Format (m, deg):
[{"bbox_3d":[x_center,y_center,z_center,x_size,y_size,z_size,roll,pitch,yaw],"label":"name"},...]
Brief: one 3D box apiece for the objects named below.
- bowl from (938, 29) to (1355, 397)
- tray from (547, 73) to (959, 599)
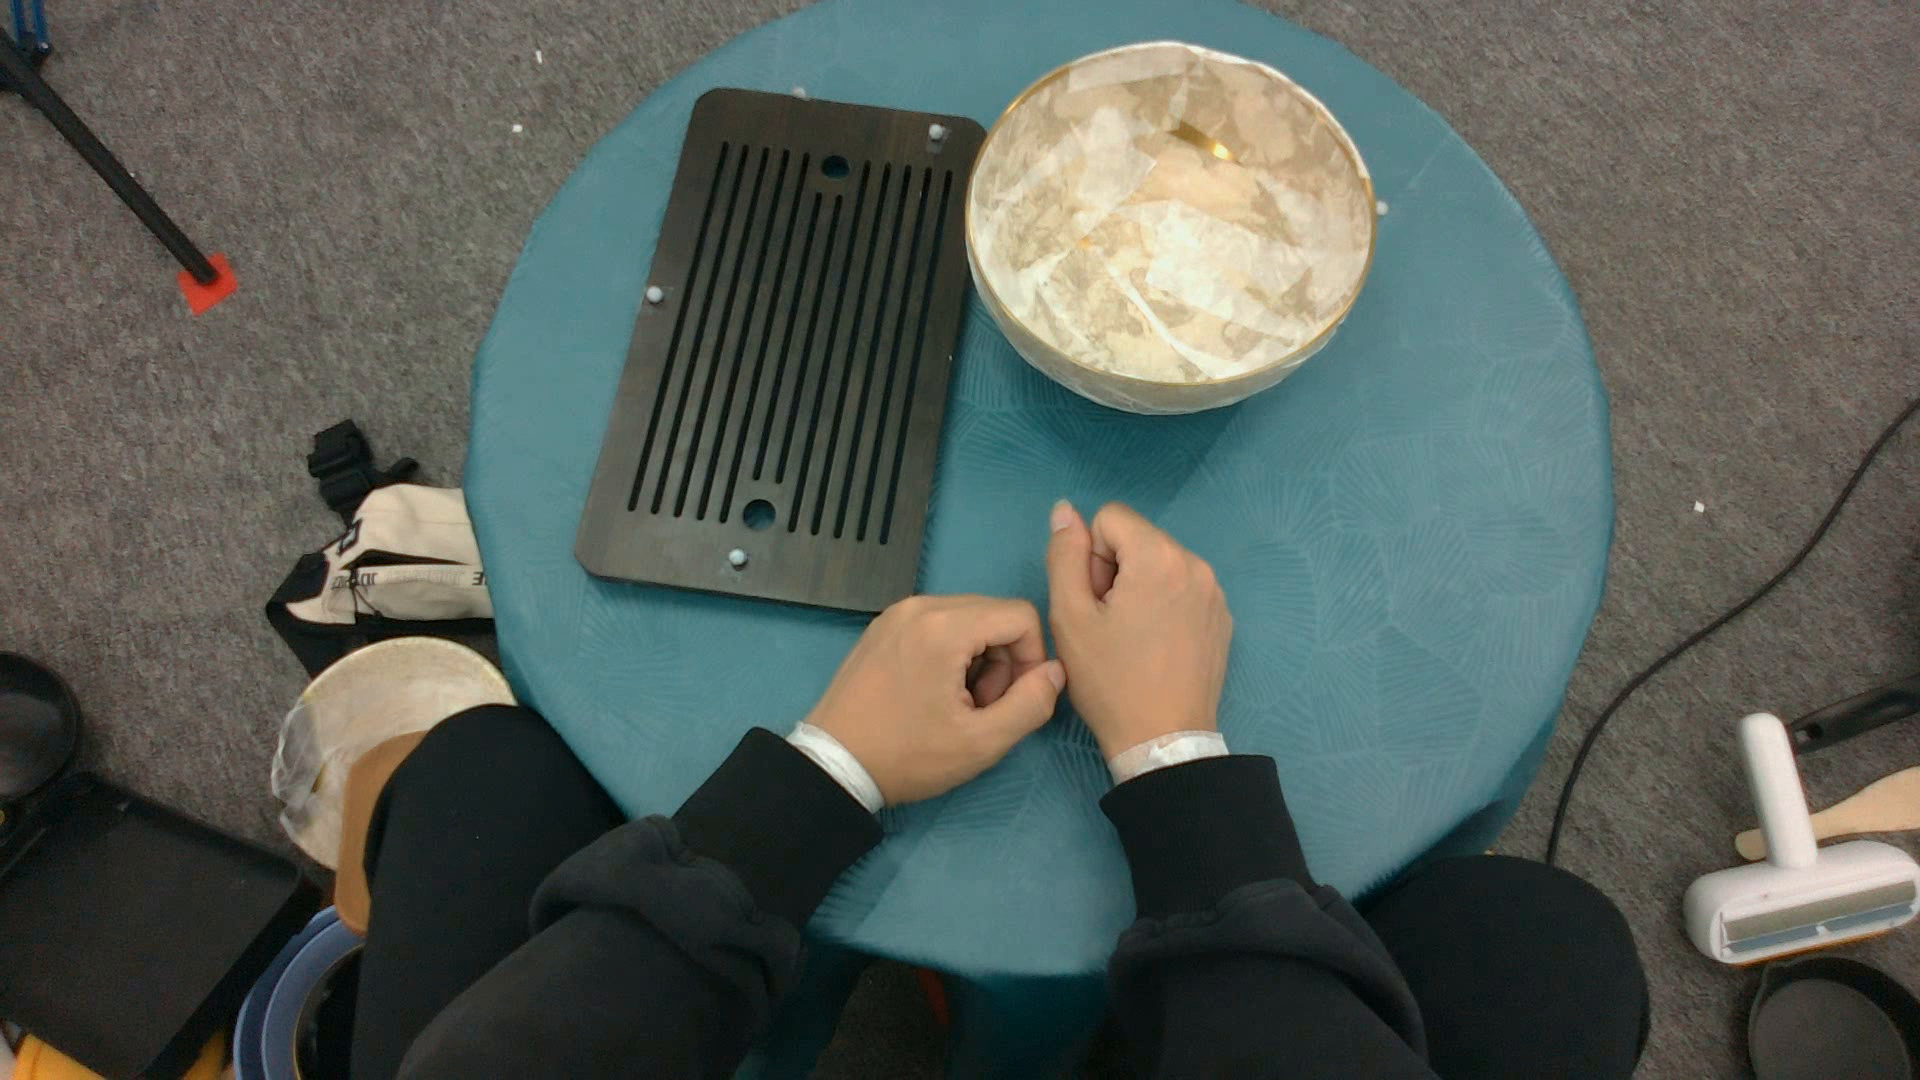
[{"bbox_3d":[0.088,-0.152,0.711,0.215,0.094,0.215,1,67,-2],"label":"bowl"},{"bbox_3d":[-0.101,-0.118,0.733,0.170,0.018,0.307,7,67,2],"label":"tray"}]
